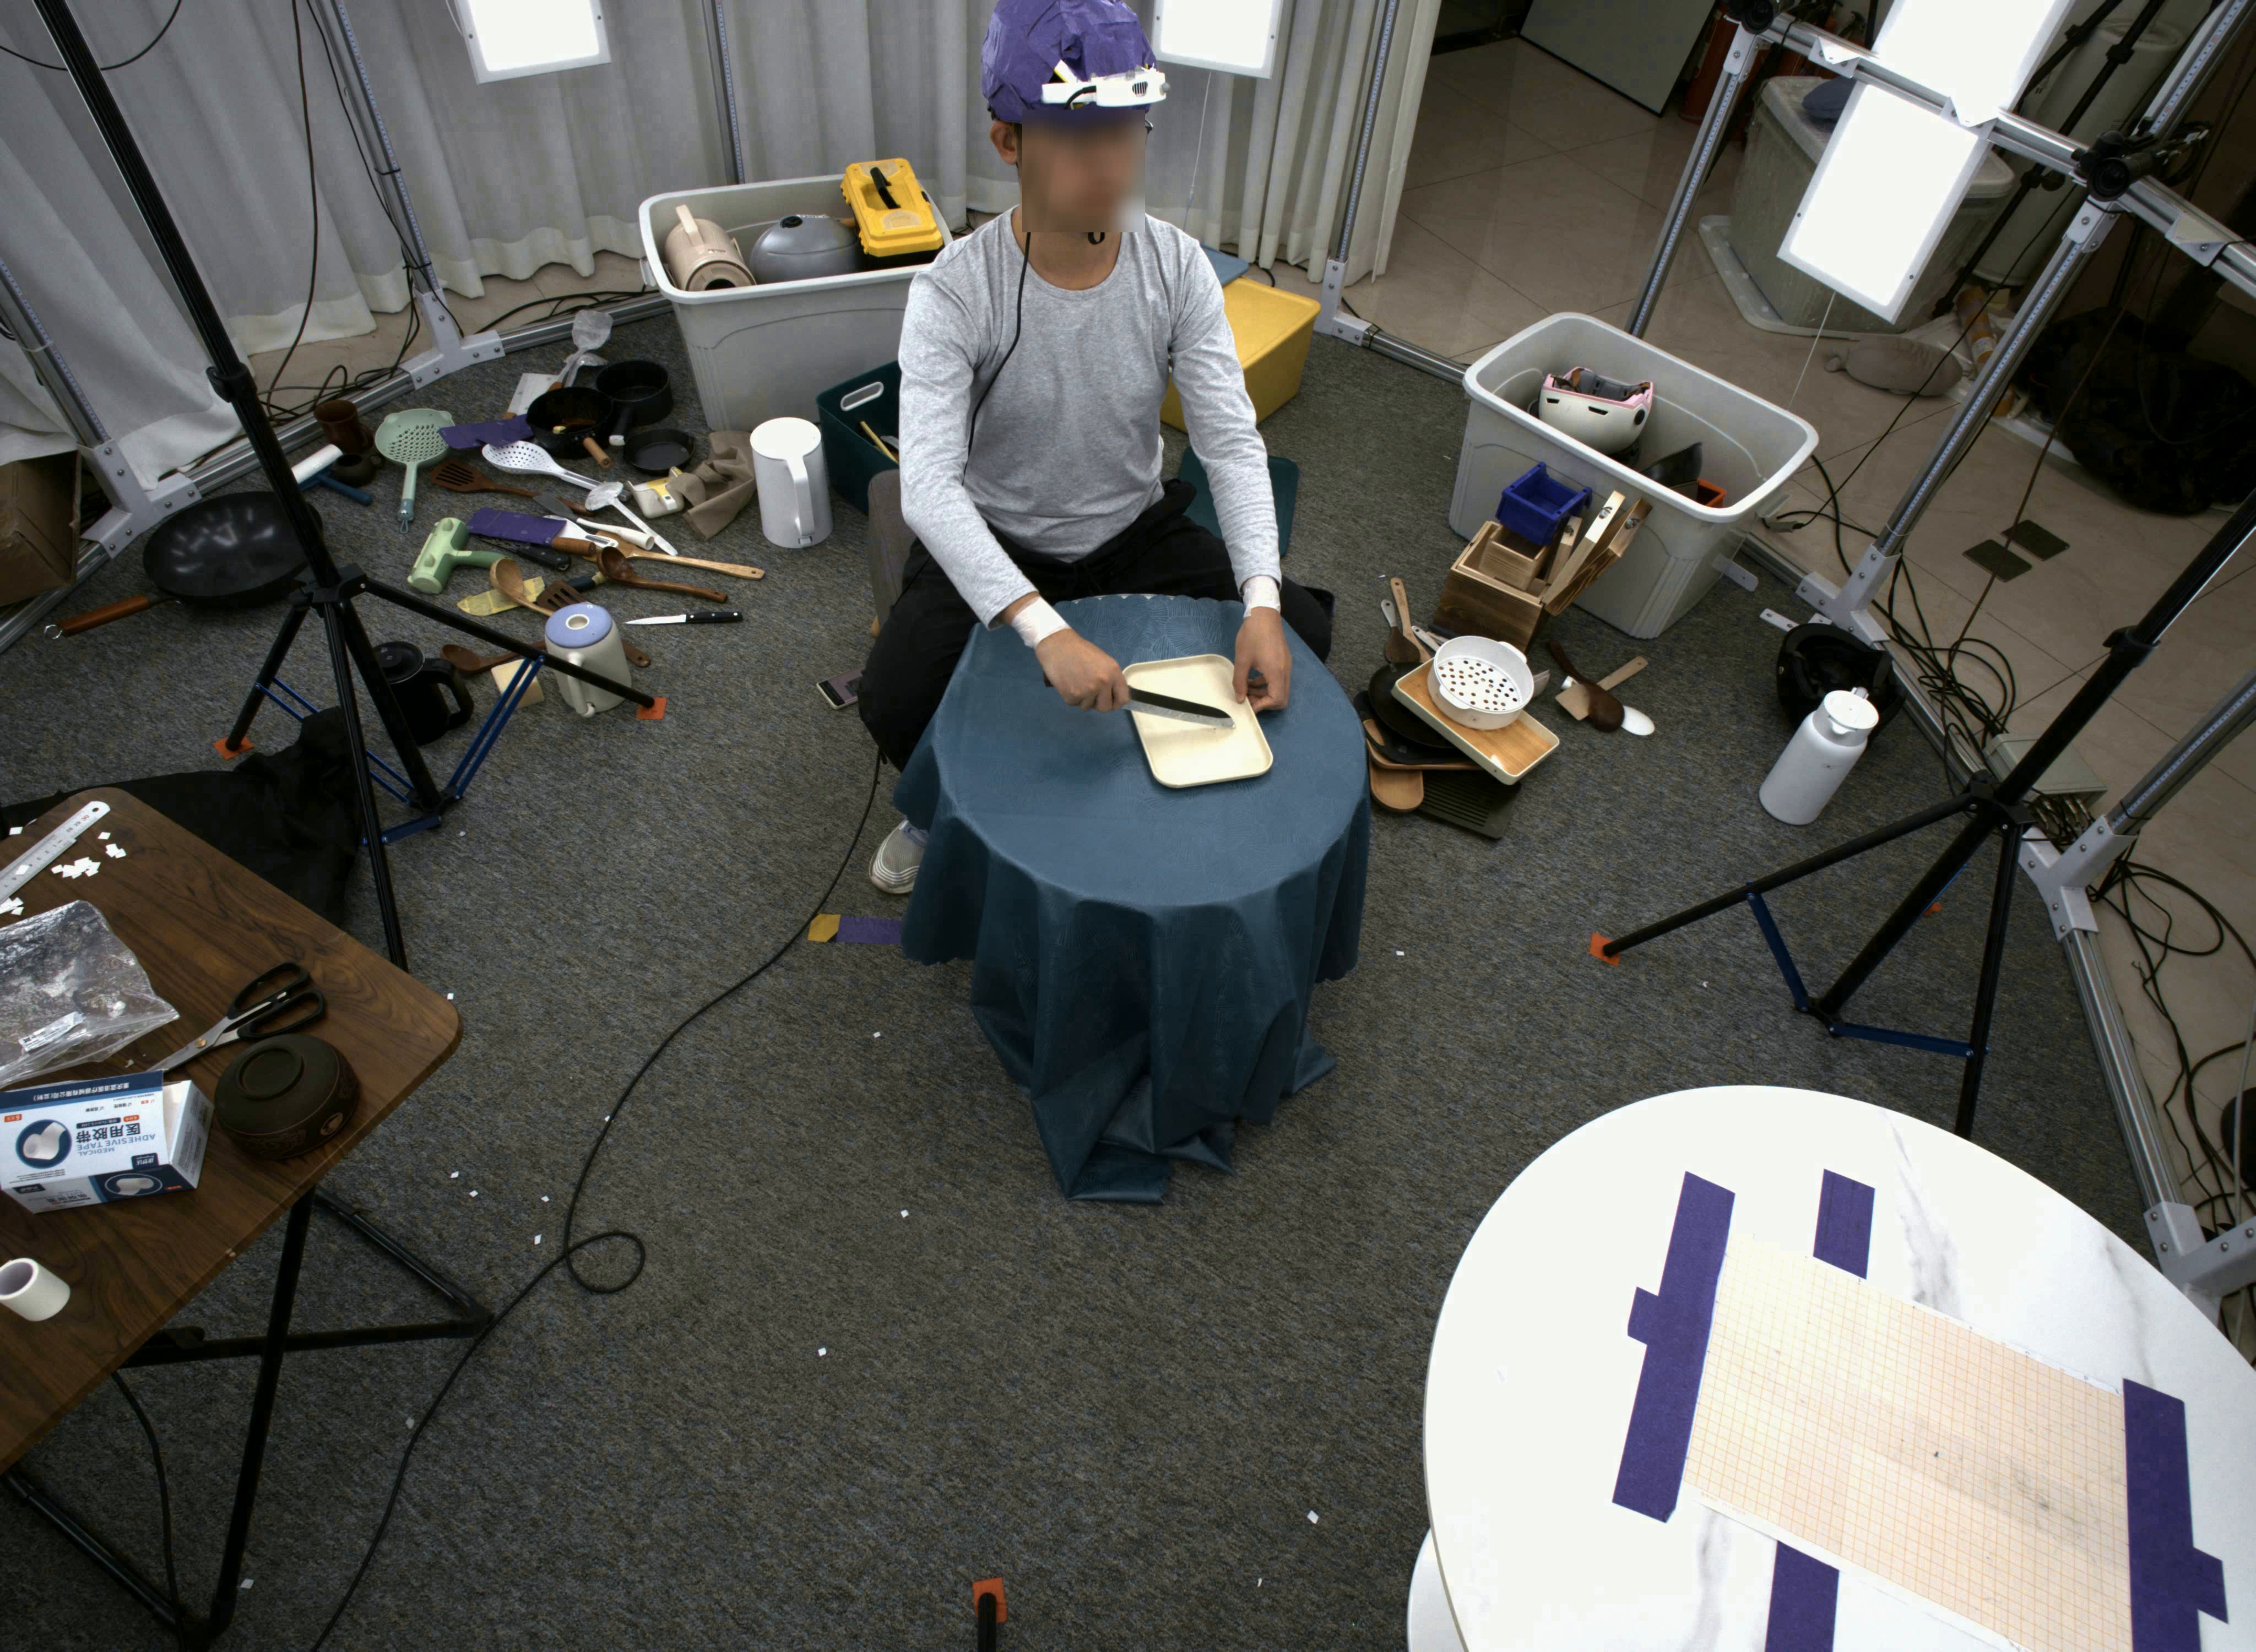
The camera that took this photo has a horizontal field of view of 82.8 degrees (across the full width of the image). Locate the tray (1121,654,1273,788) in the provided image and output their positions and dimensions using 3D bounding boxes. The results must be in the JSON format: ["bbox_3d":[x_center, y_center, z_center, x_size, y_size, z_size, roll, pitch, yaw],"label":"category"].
[{"bbox_3d":[0.093,-0.148,1.791,0.171,0.017,0.246,-8,50,-11],"label":"tray"}]

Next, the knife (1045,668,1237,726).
[{"bbox_3d":[0.020,-0.171,1.742,0.287,0.049,0.020,12,56,-19],"label":"knife"}]
